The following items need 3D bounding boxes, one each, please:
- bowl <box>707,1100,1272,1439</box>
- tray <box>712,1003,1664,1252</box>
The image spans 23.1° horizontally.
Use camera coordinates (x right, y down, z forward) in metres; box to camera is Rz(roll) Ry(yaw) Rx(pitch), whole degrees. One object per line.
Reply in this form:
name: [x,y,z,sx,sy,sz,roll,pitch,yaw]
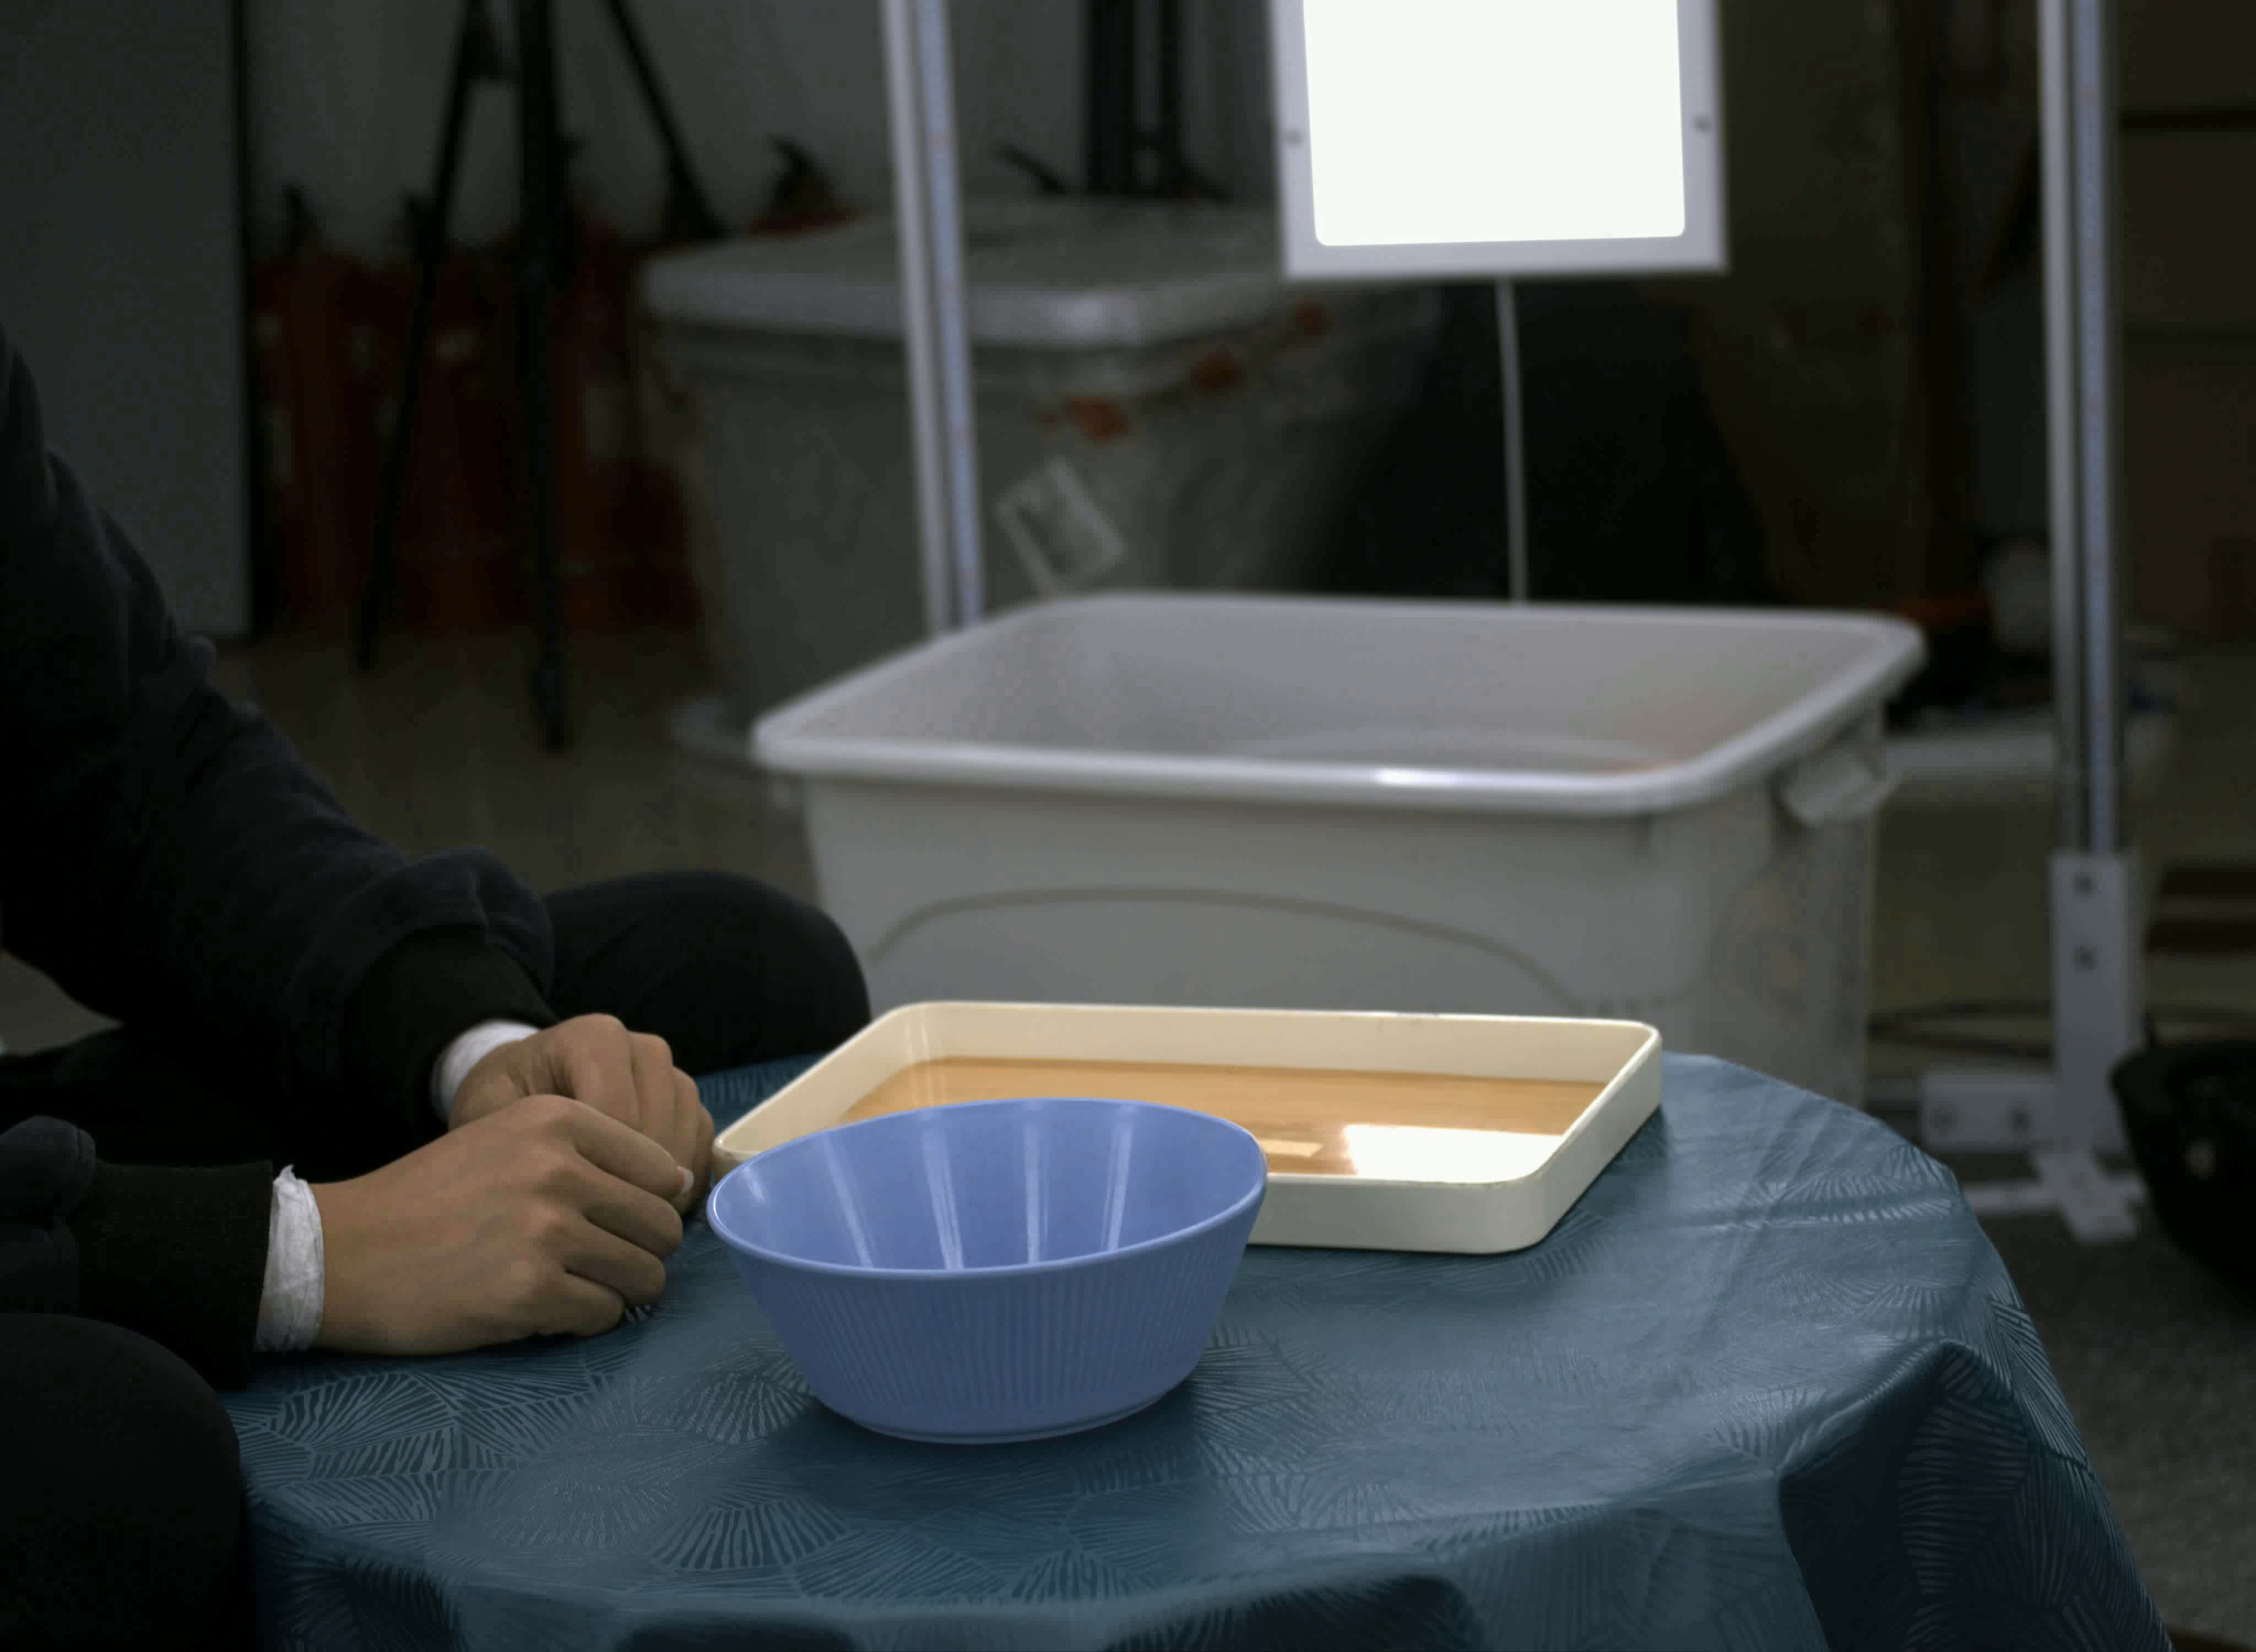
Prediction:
bowl: [-0.041,0.140,1.708,0.175,0.070,0.176,-4,14,0]
tray: [0.024,0.104,1.928,0.304,0.027,0.188,1,15,22]
